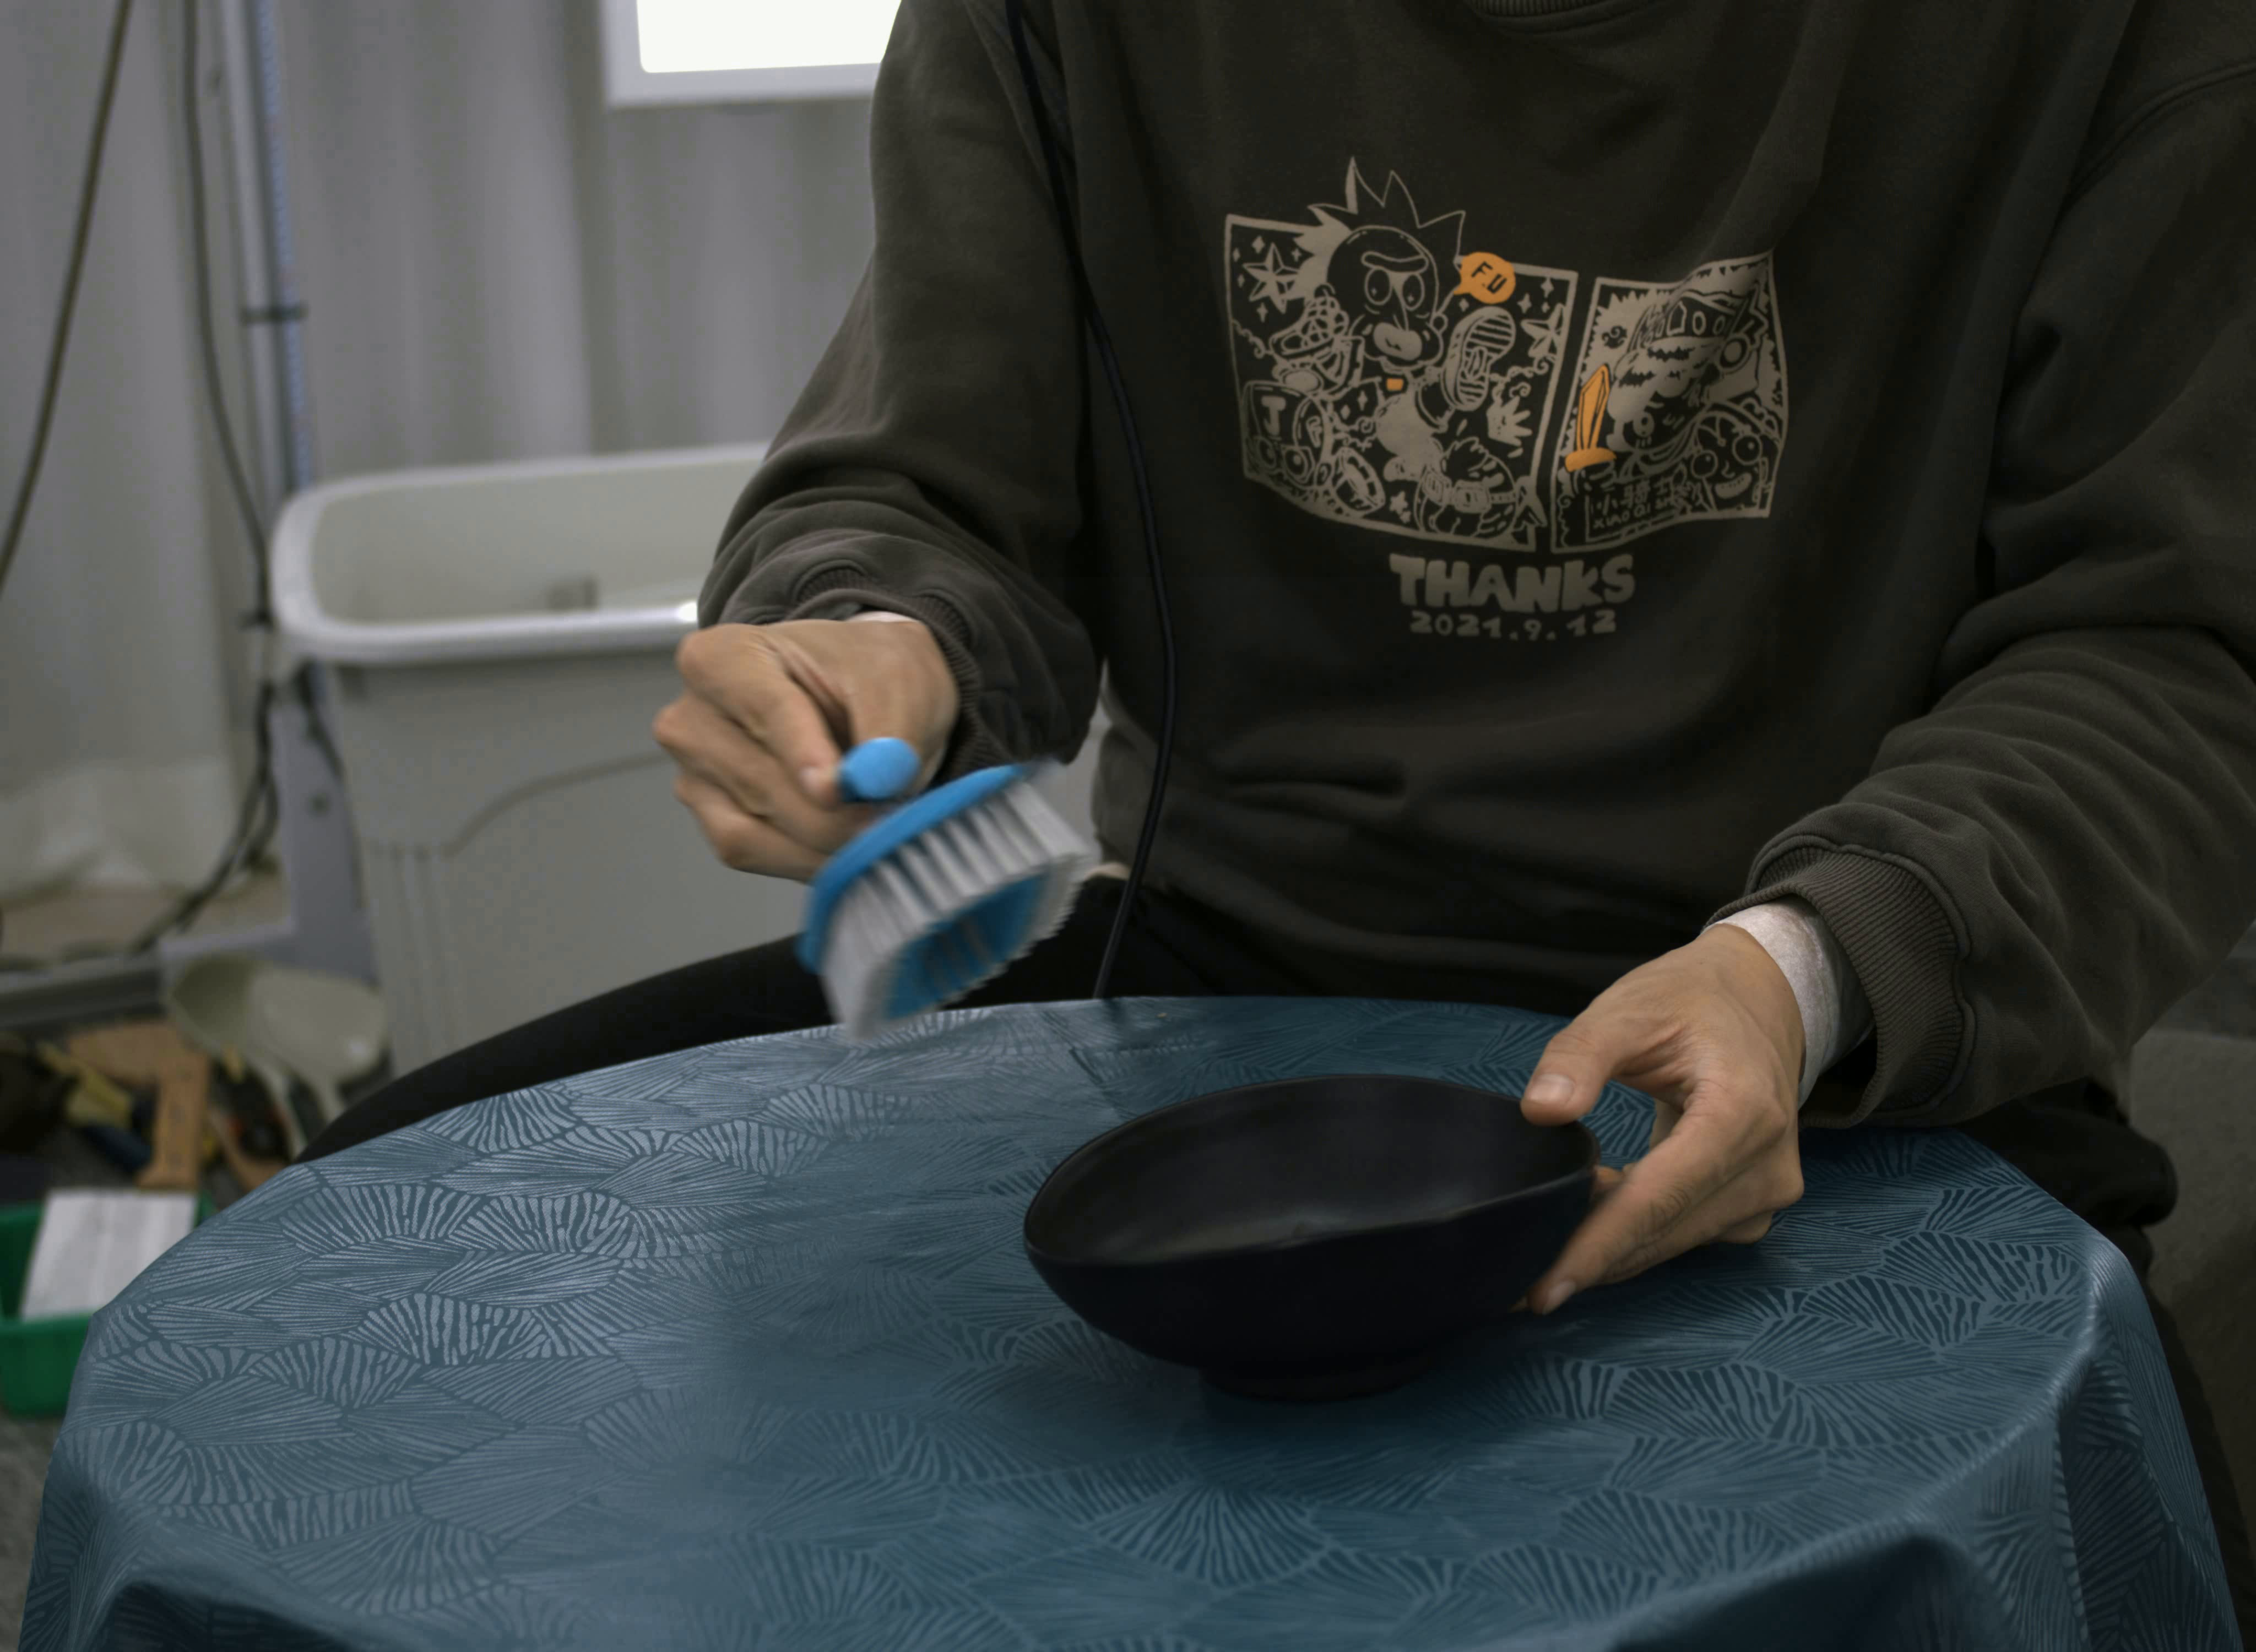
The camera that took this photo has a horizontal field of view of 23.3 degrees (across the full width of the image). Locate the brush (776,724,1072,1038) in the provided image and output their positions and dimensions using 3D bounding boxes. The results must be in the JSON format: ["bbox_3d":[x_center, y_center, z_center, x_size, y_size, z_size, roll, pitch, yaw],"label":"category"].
[{"bbox_3d":[-0.068,0.009,1.590,0.084,0.064,0.141,-31,-11,-11],"label":"brush"}]

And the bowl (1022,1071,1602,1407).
[{"bbox_3d":[0.055,0.124,1.558,0.169,0.066,0.138,-10,15,-19],"label":"bowl"}]
